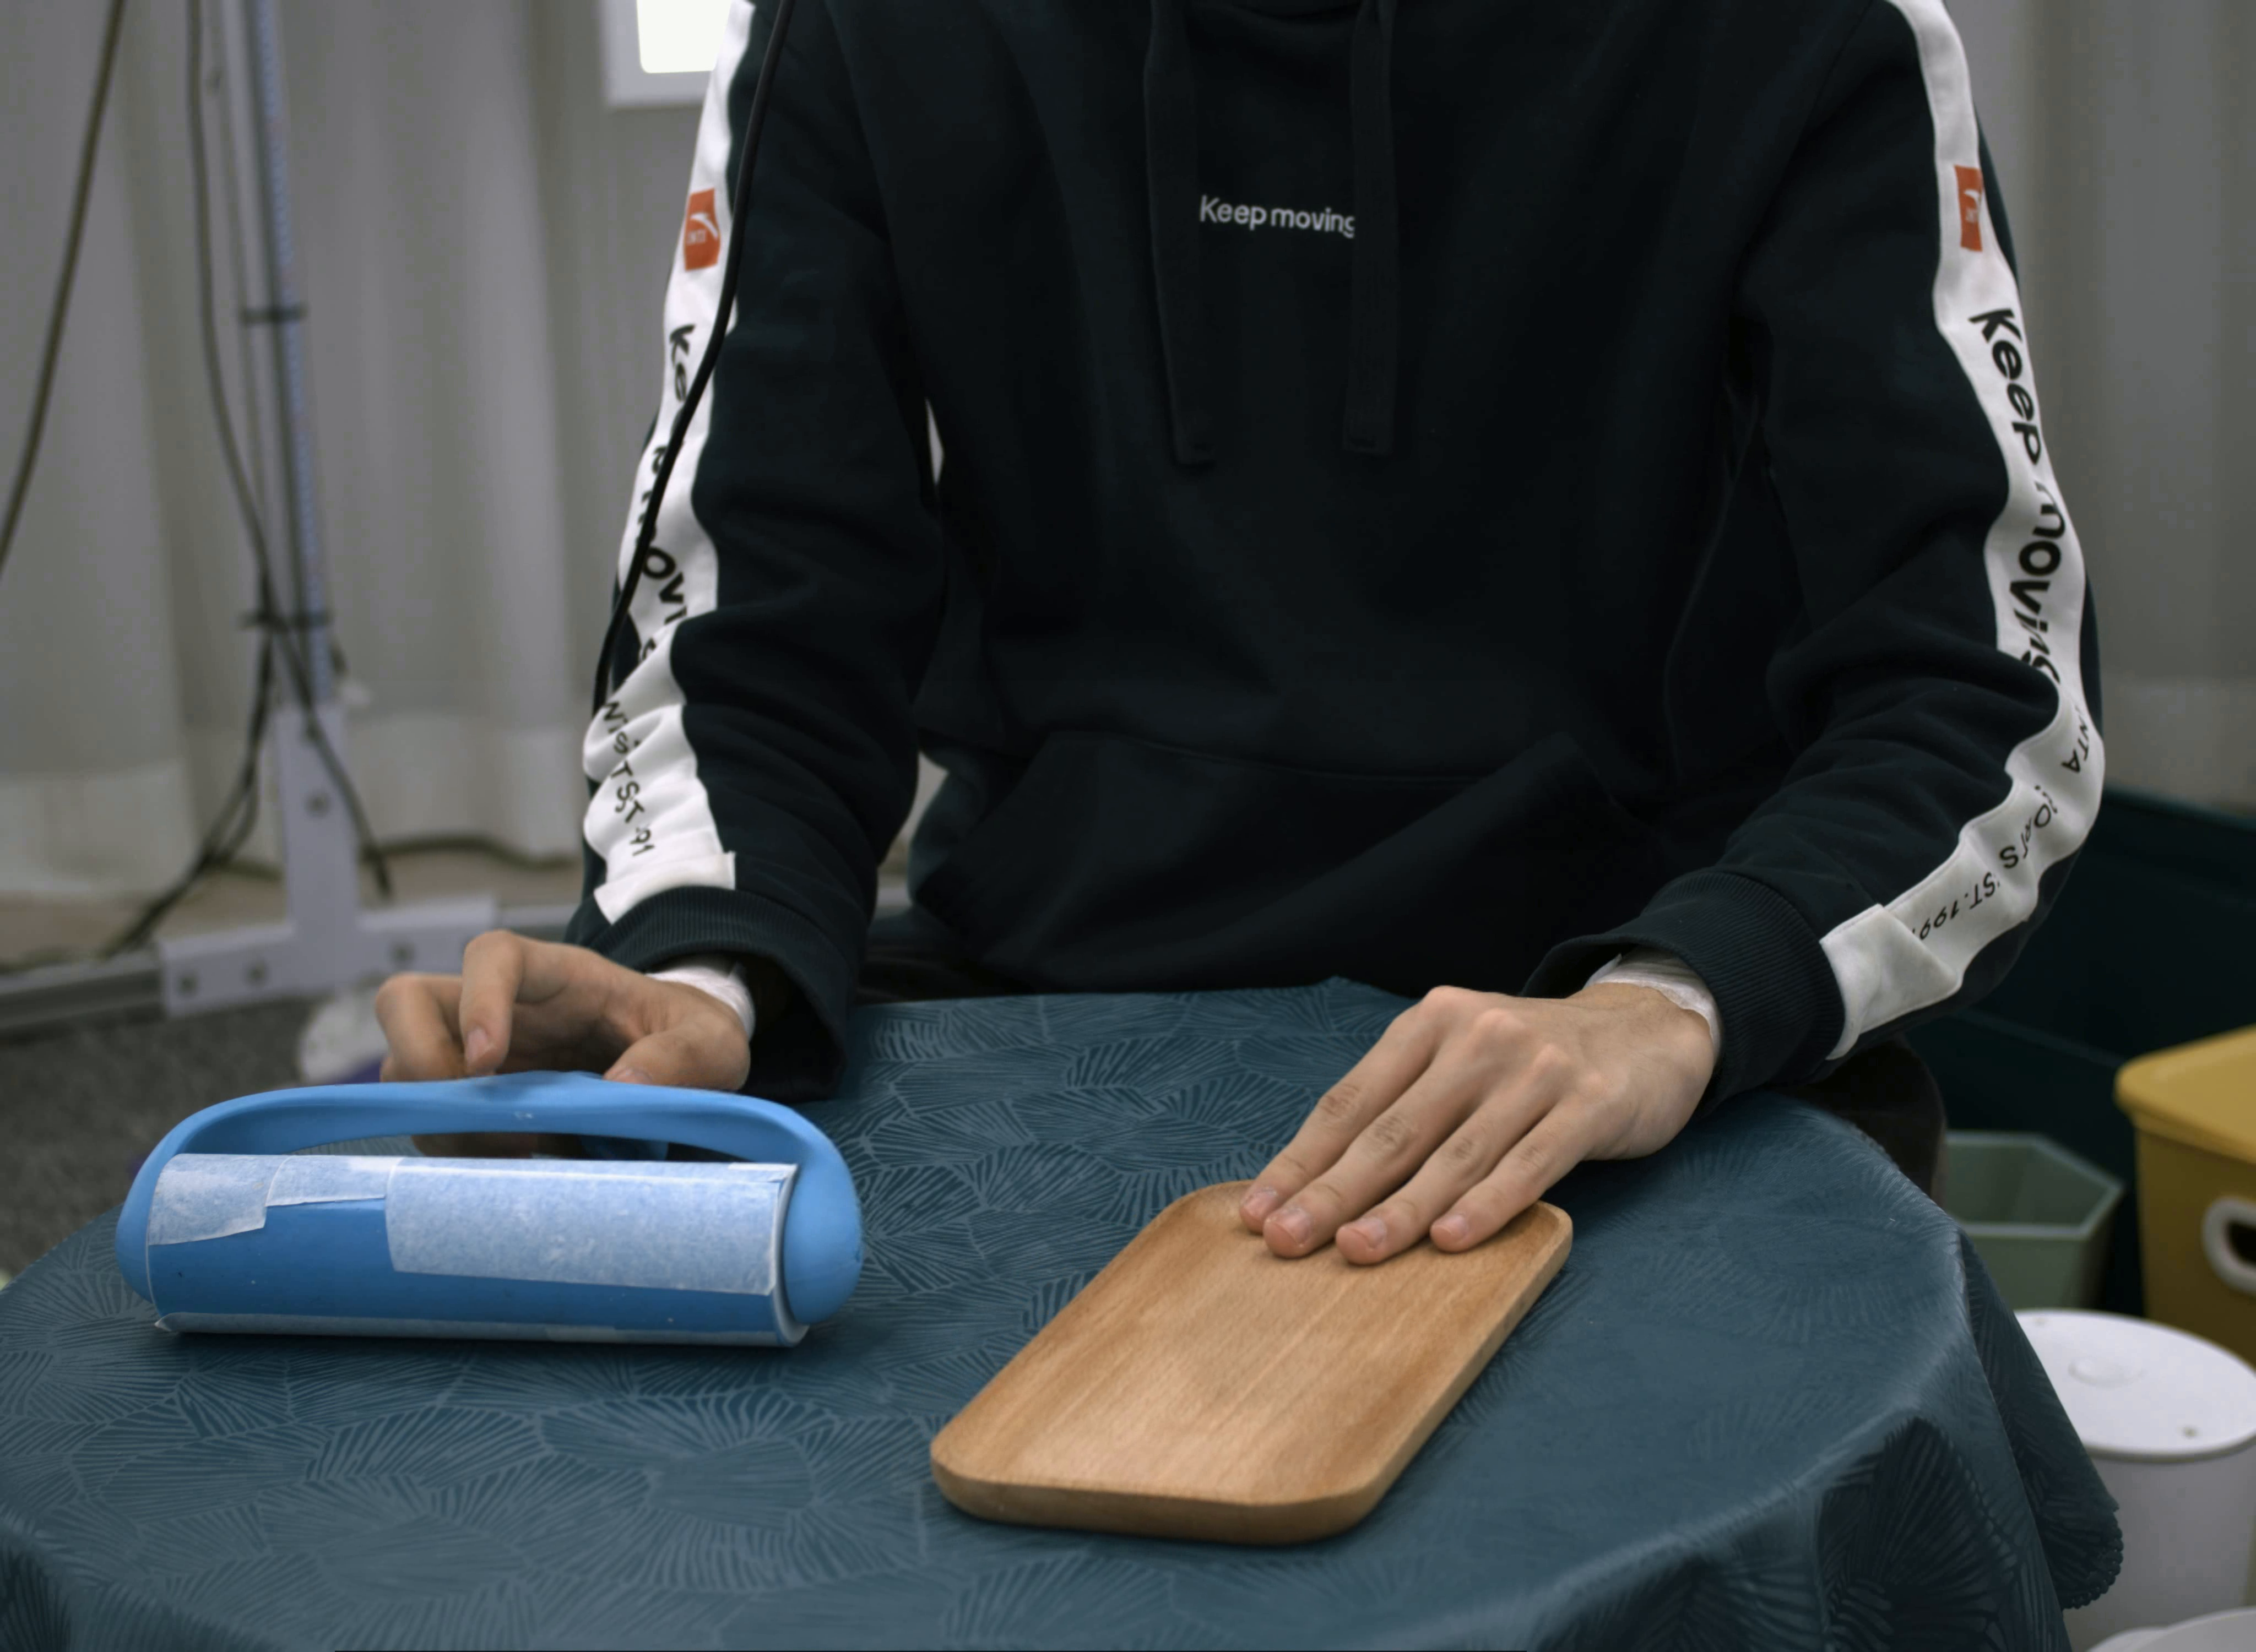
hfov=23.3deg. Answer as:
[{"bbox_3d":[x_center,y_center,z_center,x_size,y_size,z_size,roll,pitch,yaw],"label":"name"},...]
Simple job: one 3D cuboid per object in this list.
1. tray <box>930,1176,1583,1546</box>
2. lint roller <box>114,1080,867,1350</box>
[{"bbox_3d":[0.041,0.148,1.547,0.130,0.023,0.251,5,16,20],"label":"tray"},{"bbox_3d":[-0.179,0.108,1.666,0.228,0.067,0.181,-2,16,10],"label":"lint roller"}]
